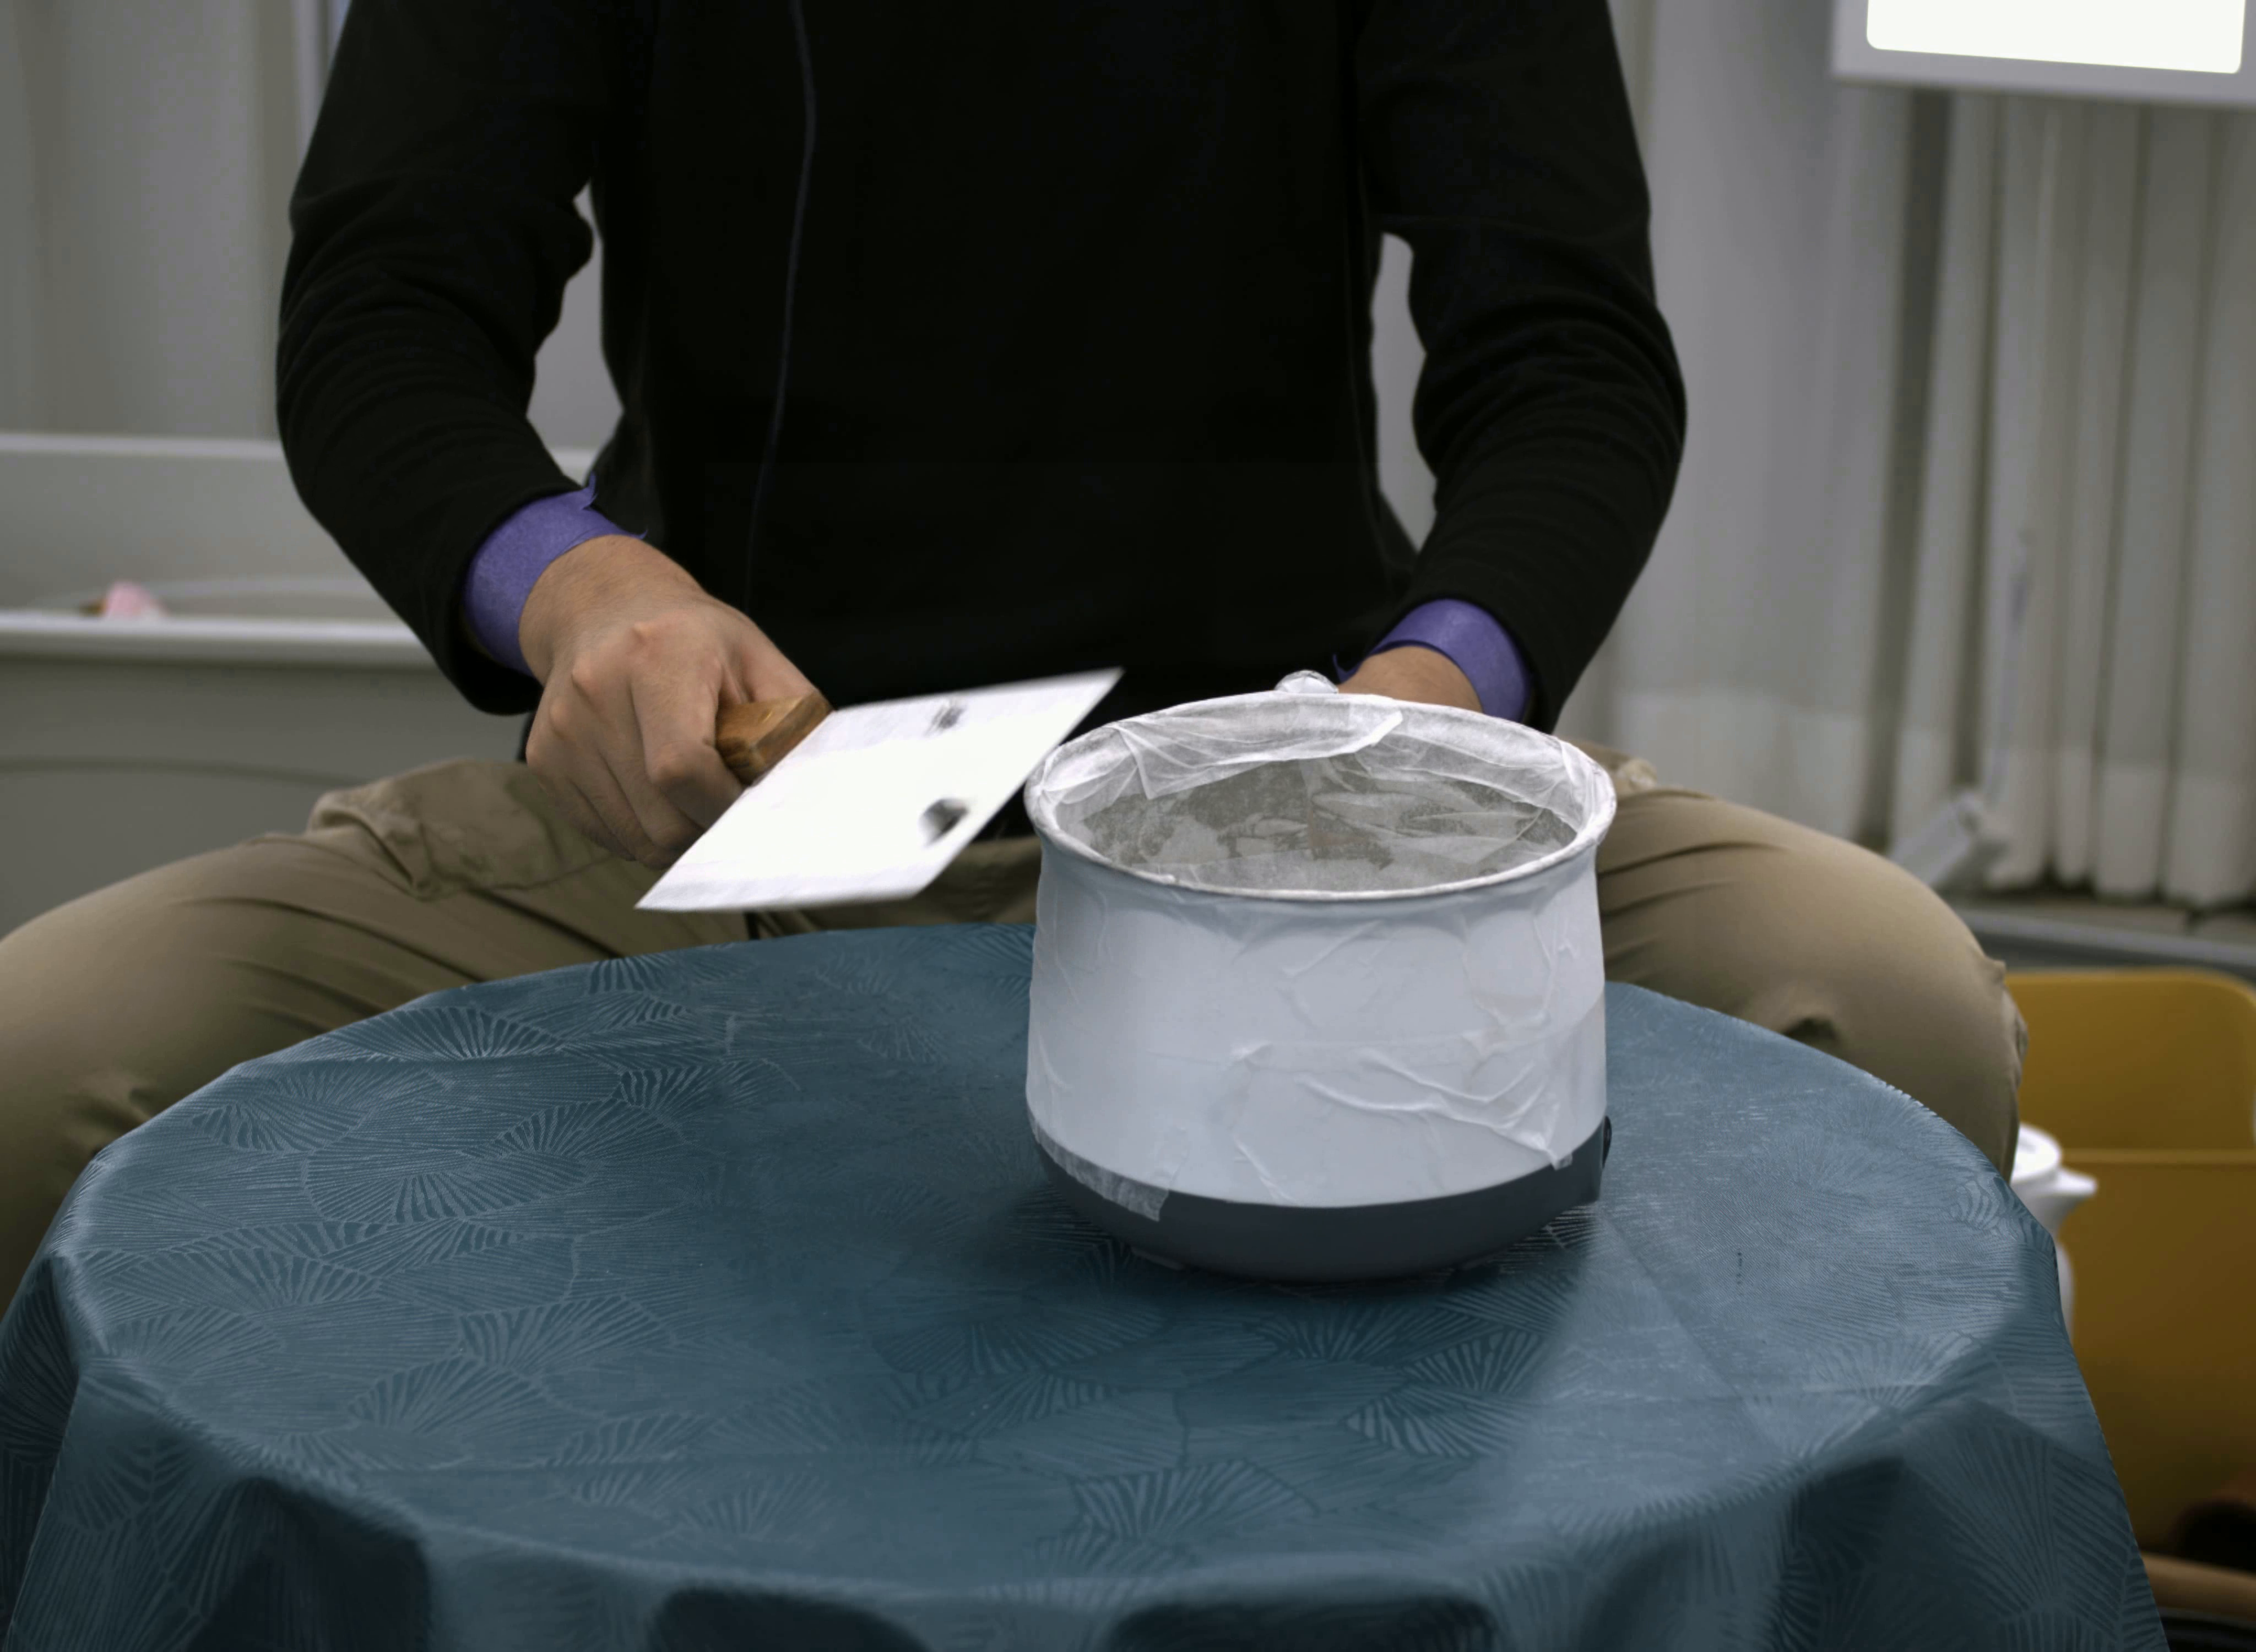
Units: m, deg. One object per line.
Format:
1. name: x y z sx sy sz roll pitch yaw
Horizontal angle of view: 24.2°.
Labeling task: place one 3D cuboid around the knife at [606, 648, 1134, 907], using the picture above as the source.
1. knife: -0.099 -0.010 1.596 0.093 0.021 0.303 -47 19 -25

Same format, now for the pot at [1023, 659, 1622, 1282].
1. pot: 0.056 0.037 1.607 0.178 0.138 0.232 0 22 -3
